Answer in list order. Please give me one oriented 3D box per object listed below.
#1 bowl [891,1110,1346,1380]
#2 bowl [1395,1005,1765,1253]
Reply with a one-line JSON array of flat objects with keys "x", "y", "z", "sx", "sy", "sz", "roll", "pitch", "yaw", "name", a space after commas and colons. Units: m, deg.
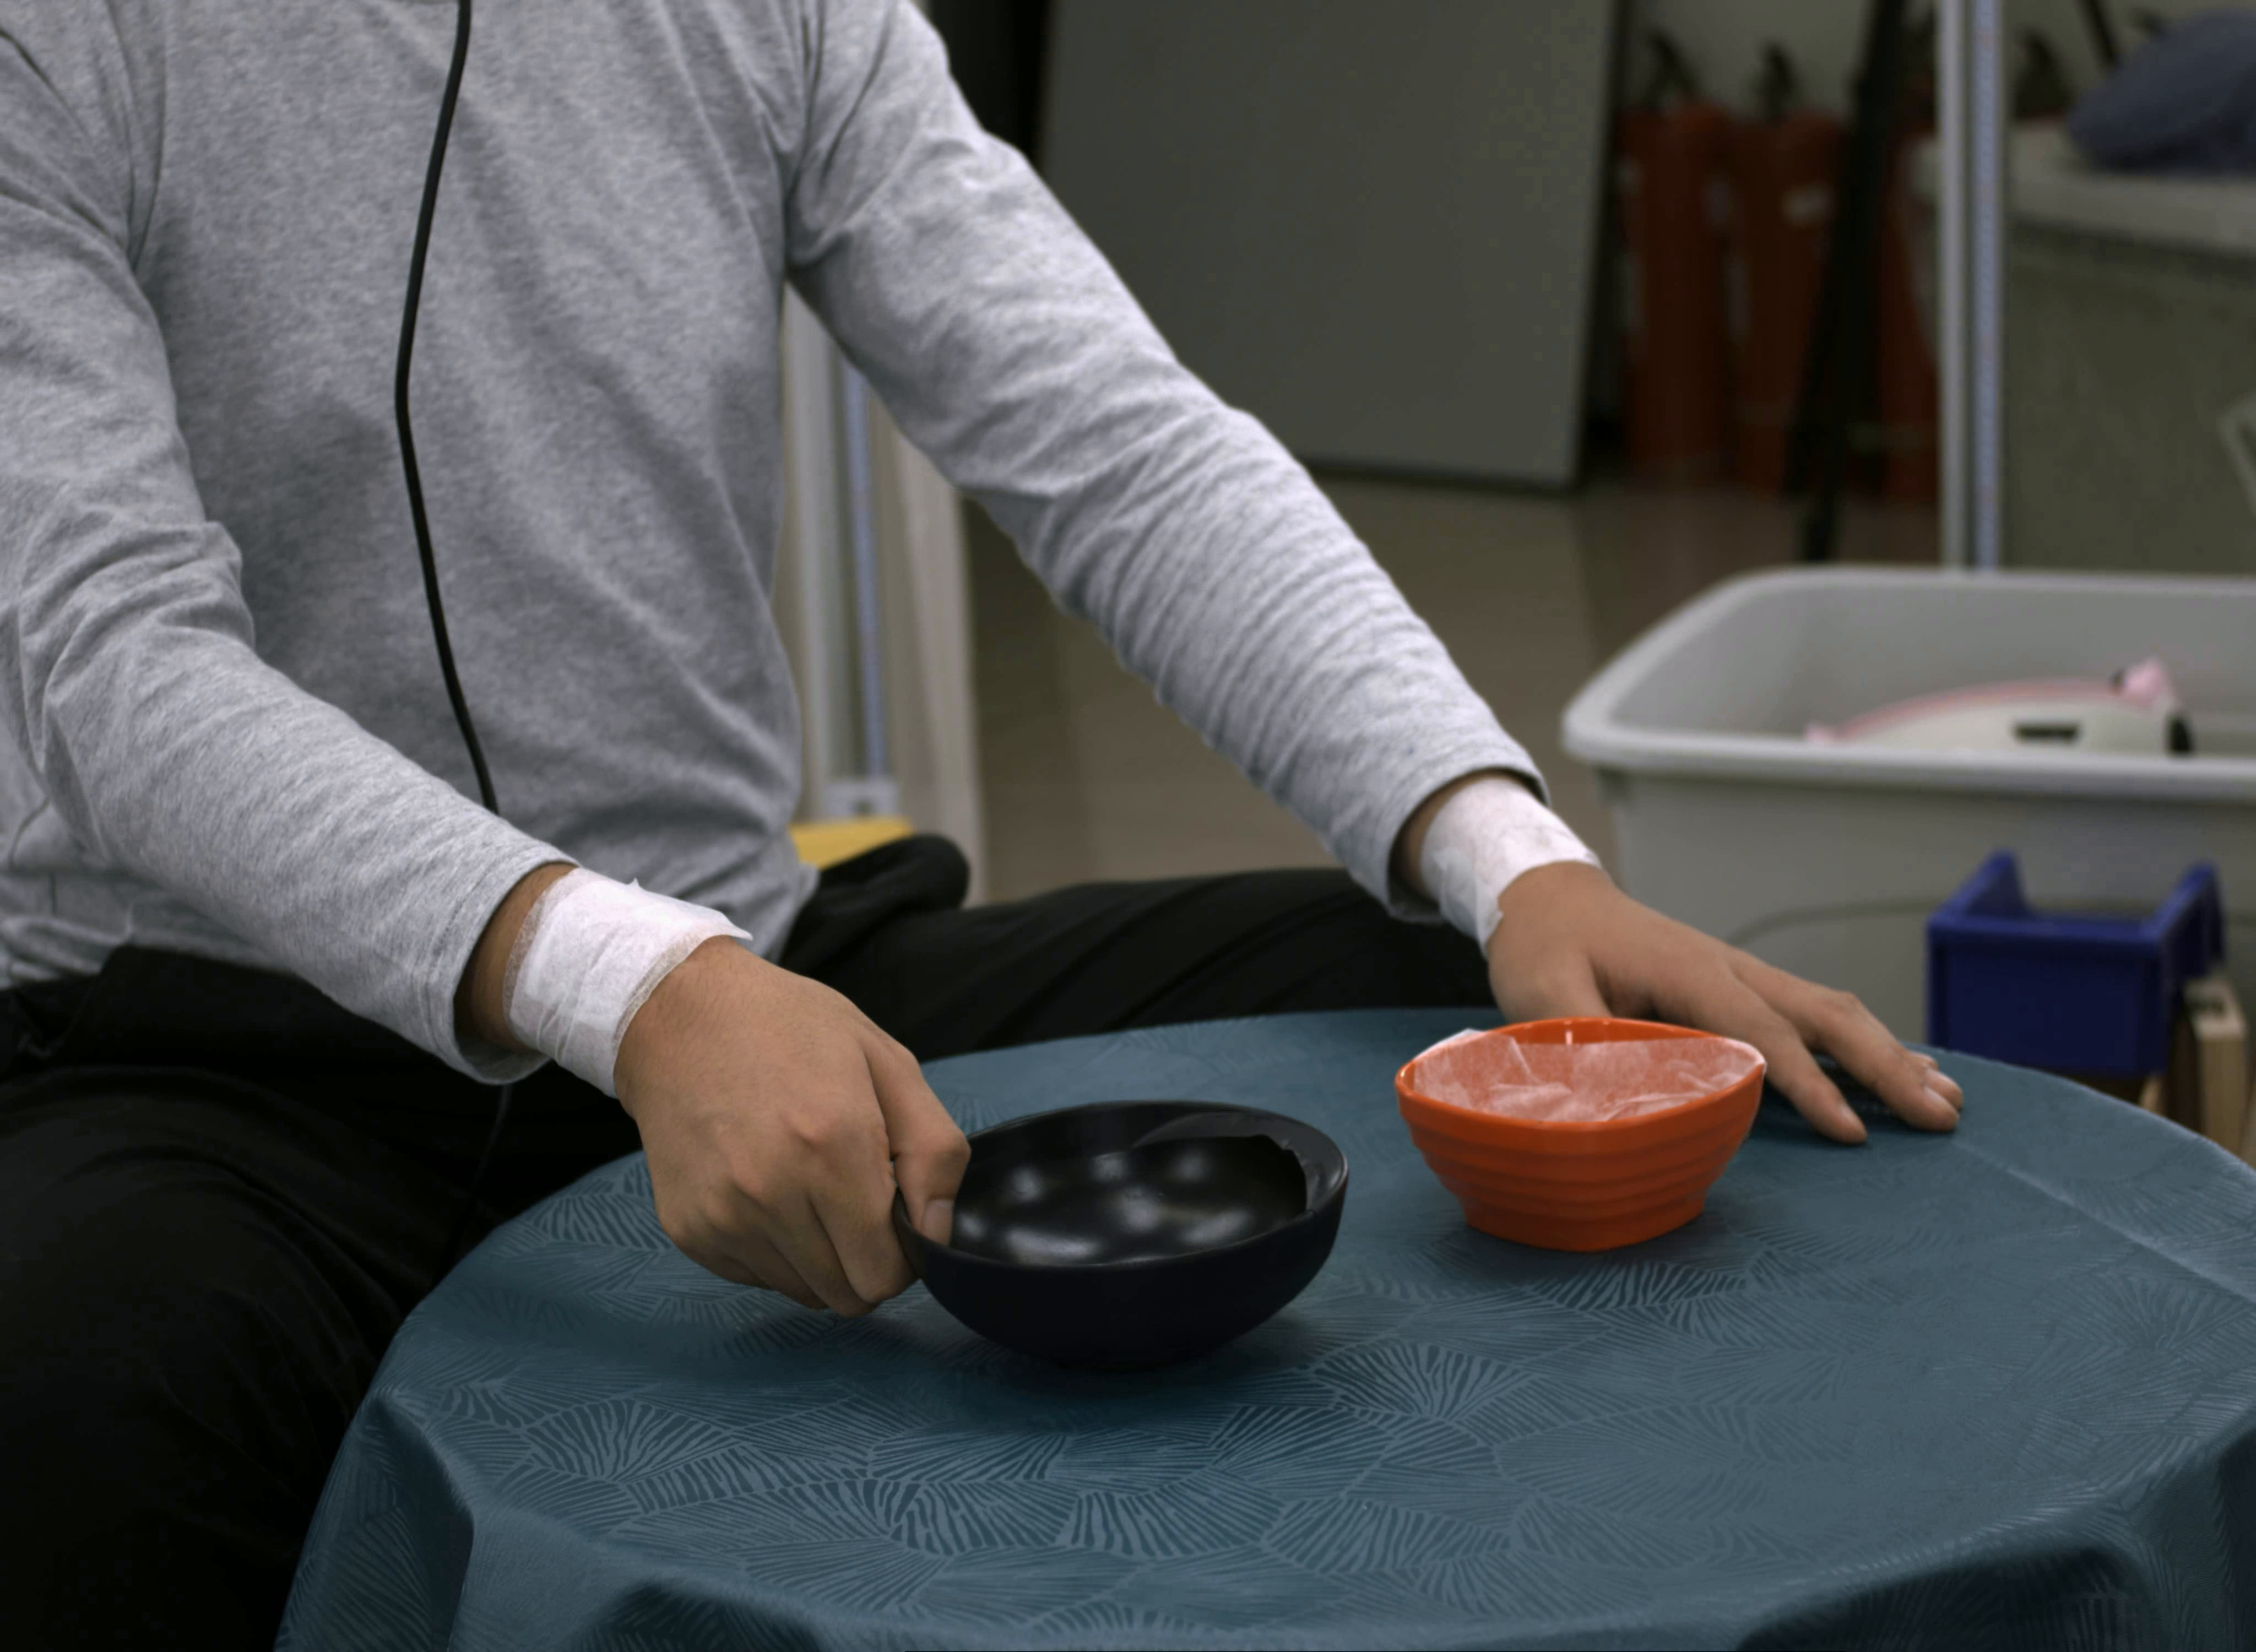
[{"x": 0.000, "y": 0.131, "z": 1.622, "sx": 0.138, "sy": 0.050, "sz": 0.140, "roll": -7, "pitch": 14, "yaw": 1, "name": "bowl"}, {"x": 0.144, "y": 0.098, "z": 1.711, "sx": 0.117, "sy": 0.052, "sz": 0.119, "roll": -3, "pitch": 16, "yaw": 0, "name": "bowl"}]
